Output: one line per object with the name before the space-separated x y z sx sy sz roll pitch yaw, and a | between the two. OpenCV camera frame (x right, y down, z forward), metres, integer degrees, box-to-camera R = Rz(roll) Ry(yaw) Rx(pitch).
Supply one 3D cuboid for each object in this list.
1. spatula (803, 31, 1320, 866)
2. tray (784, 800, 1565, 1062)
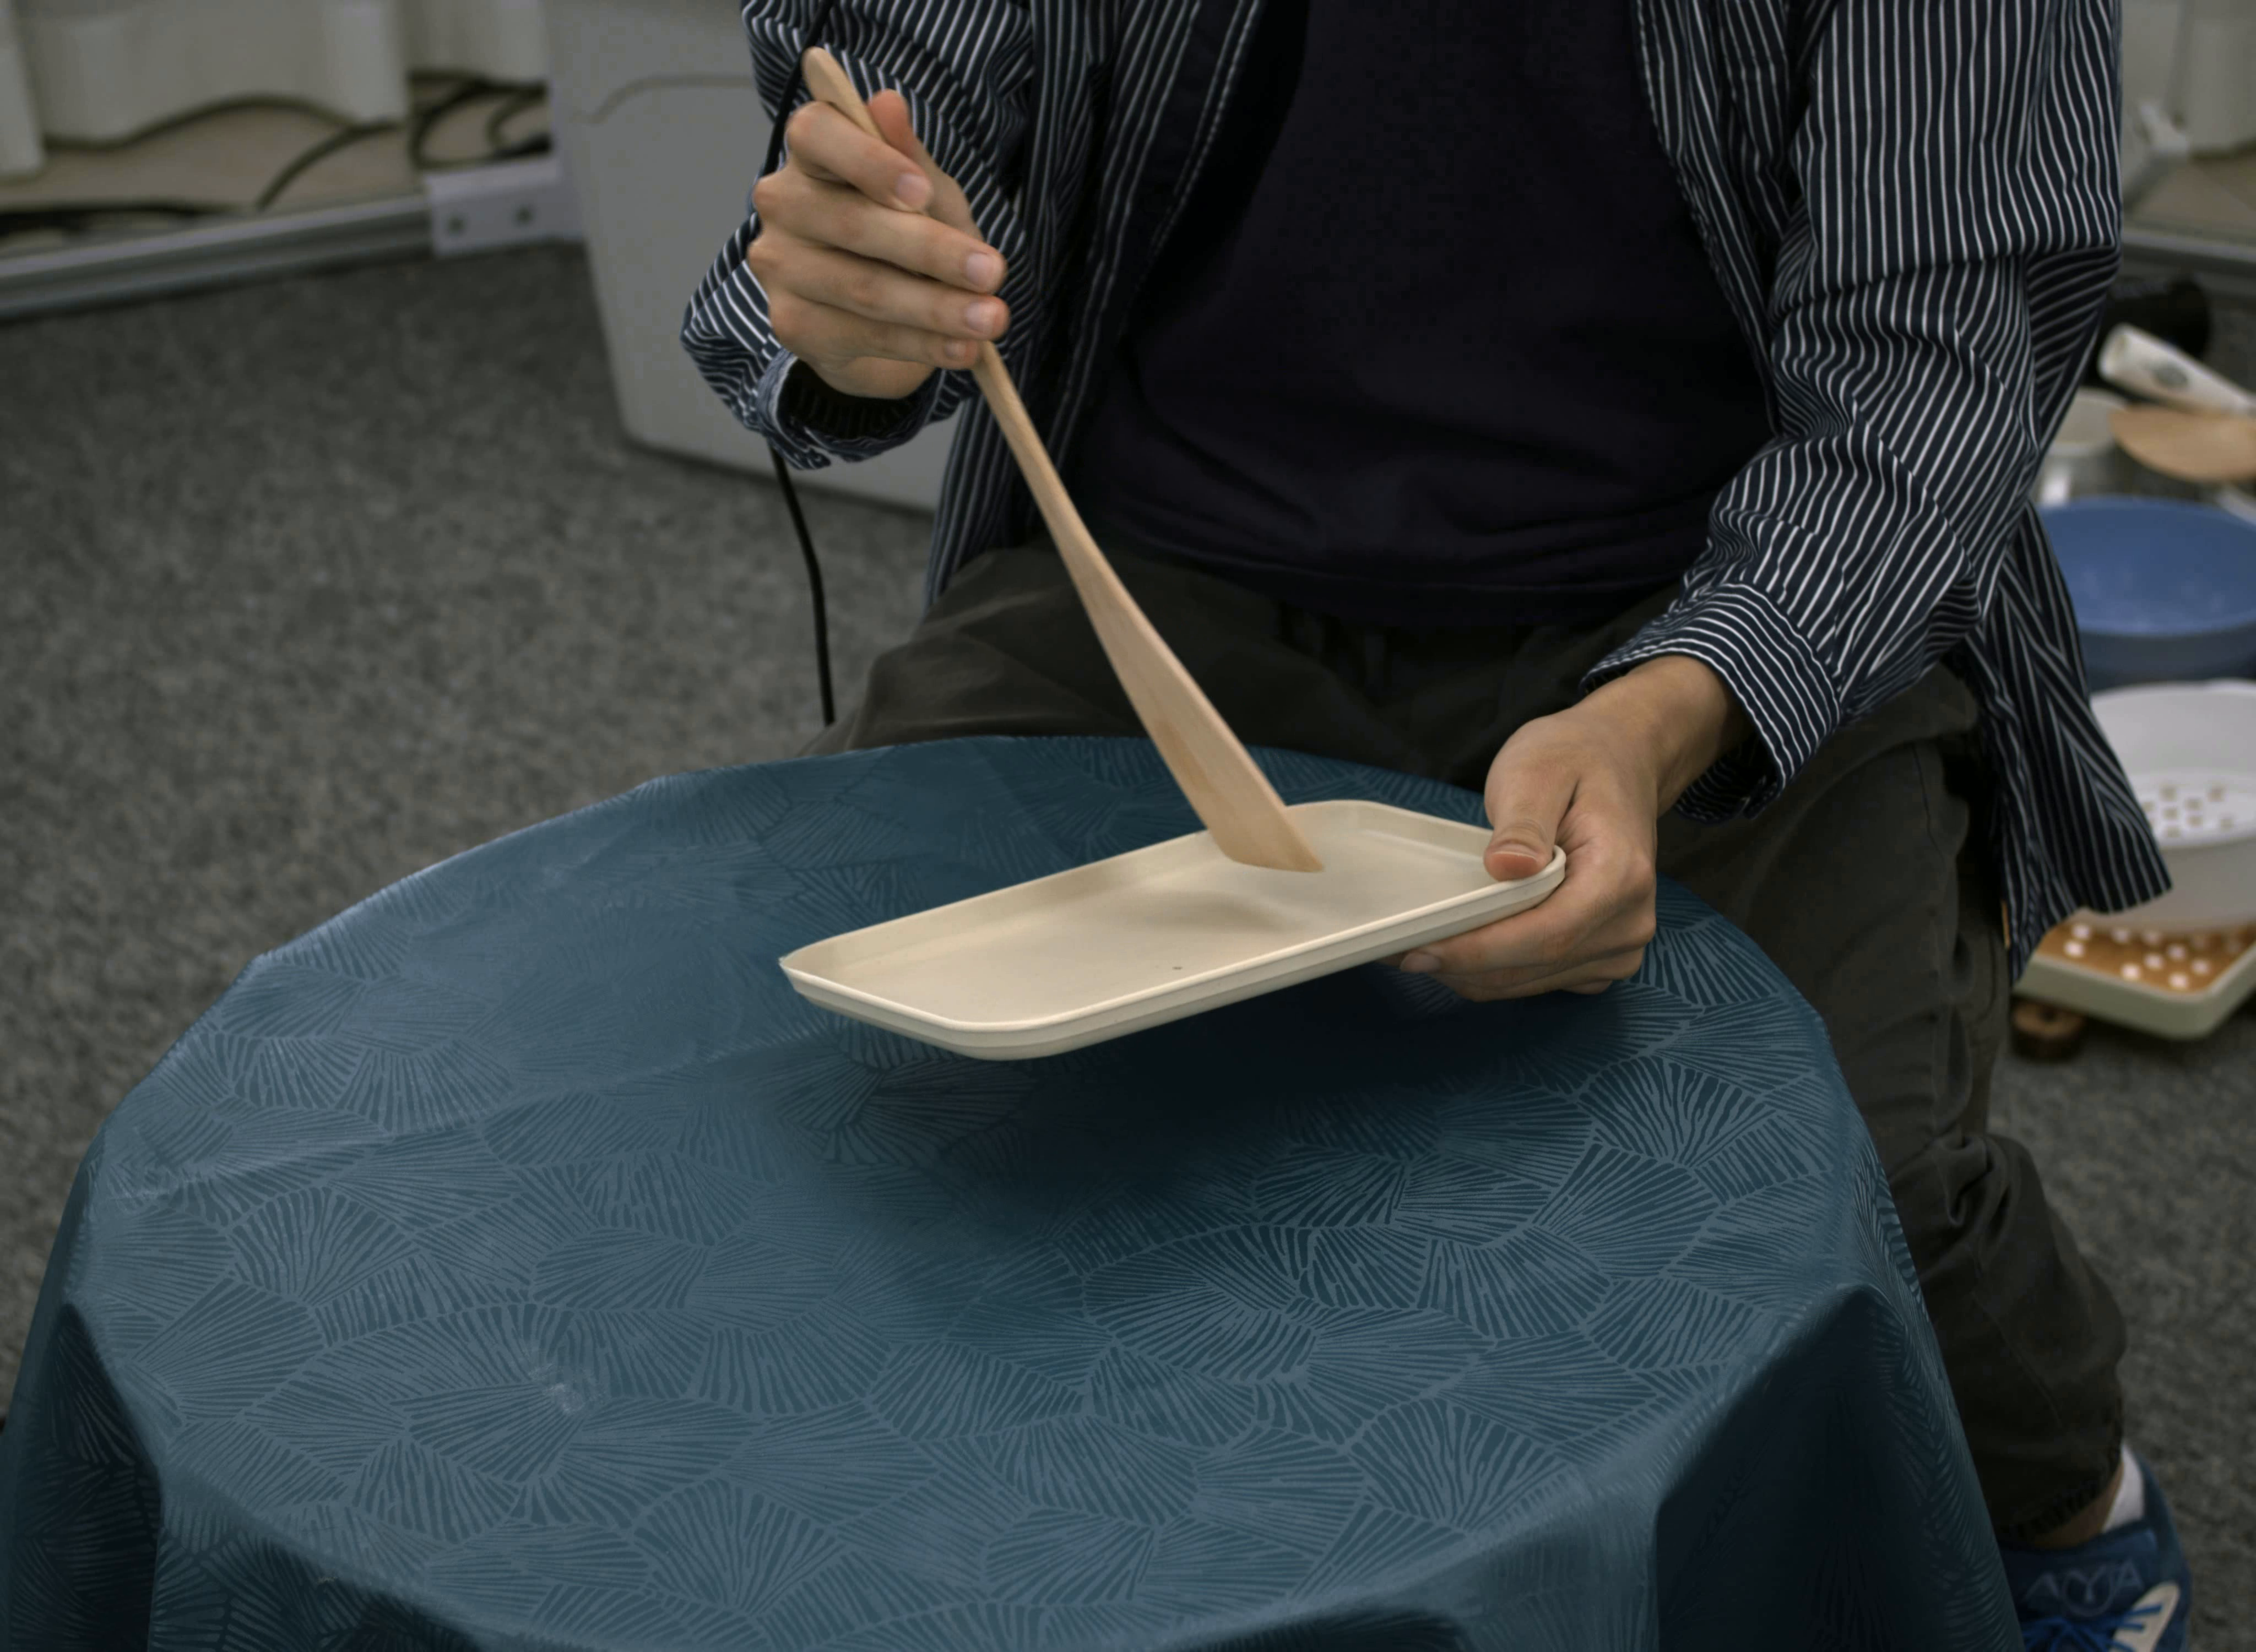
spatula | -0.027 -0.125 1.916 0.016 0.328 0.079 -28 1 -17
tray | 0.016 0.035 1.901 0.241 0.017 0.170 -16 15 -28
